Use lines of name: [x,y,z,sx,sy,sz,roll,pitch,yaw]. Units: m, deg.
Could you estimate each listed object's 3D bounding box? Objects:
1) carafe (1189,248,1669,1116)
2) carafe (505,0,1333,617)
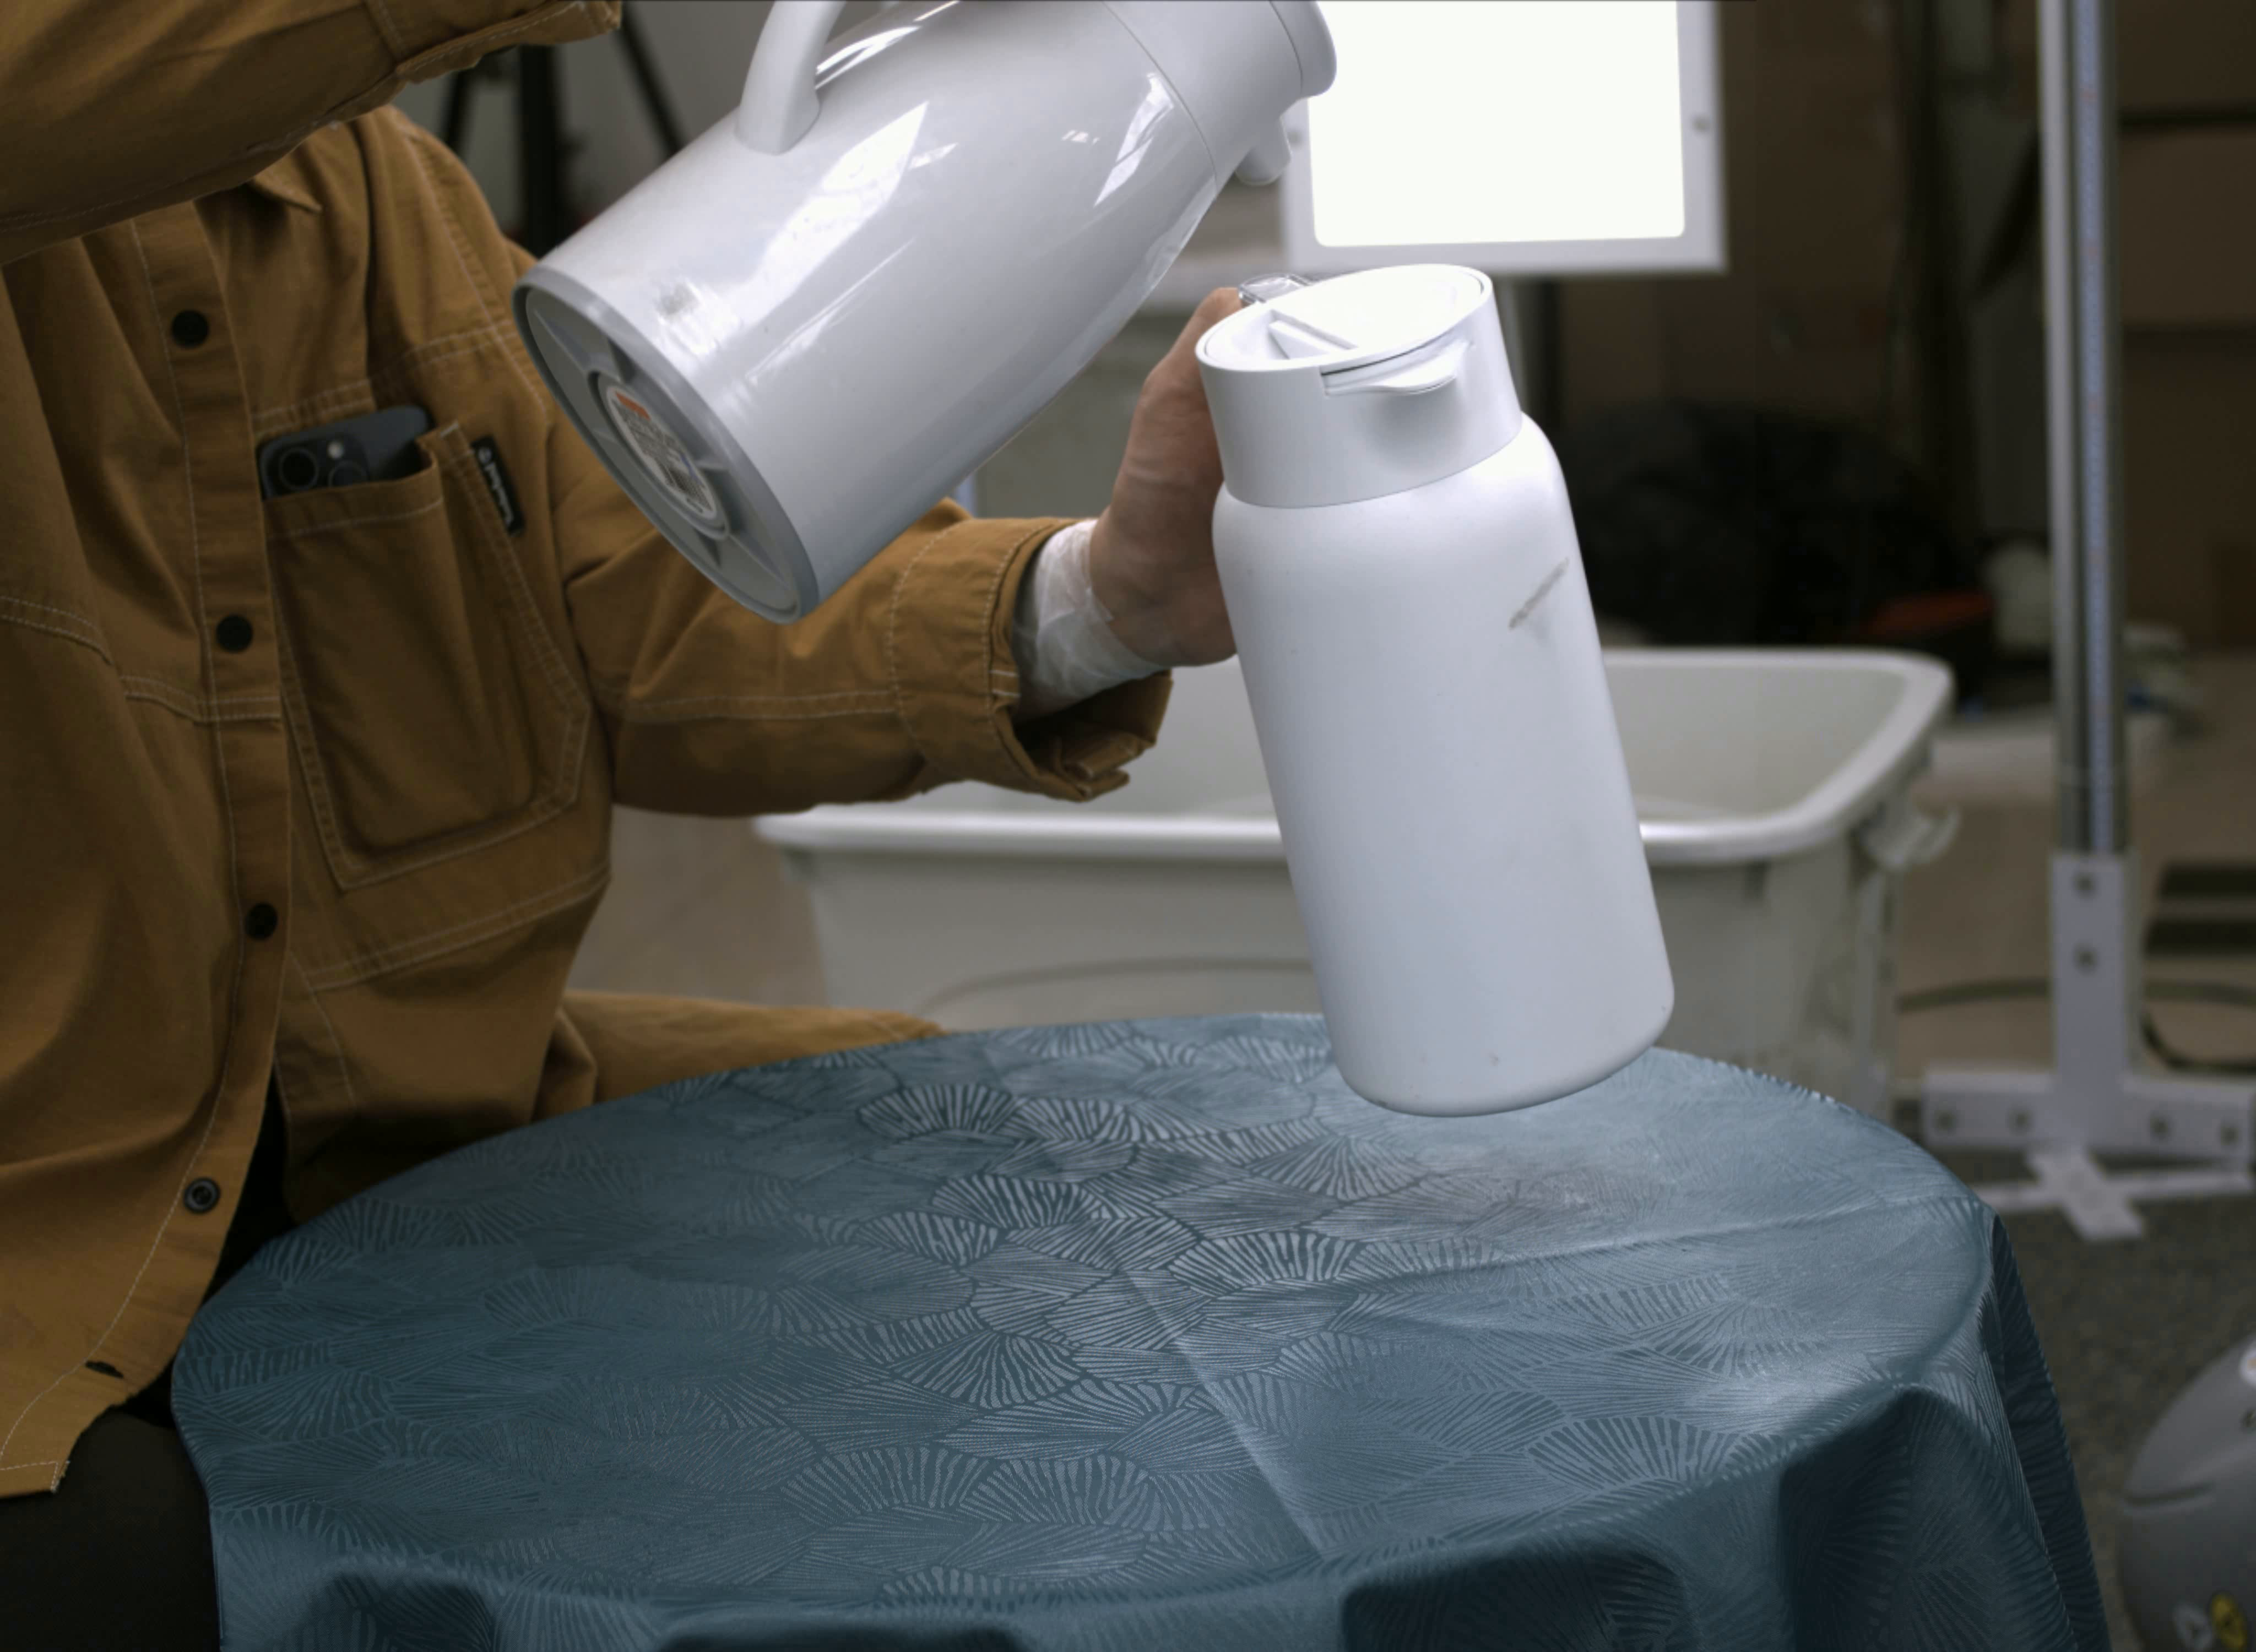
carafe: [0.090,-0.050,1.821,0.122,0.269,0.175,-22,21,-14]
carafe: [-0.058,-0.203,1.658,0.246,0.166,0.135,-41,41,-13]
